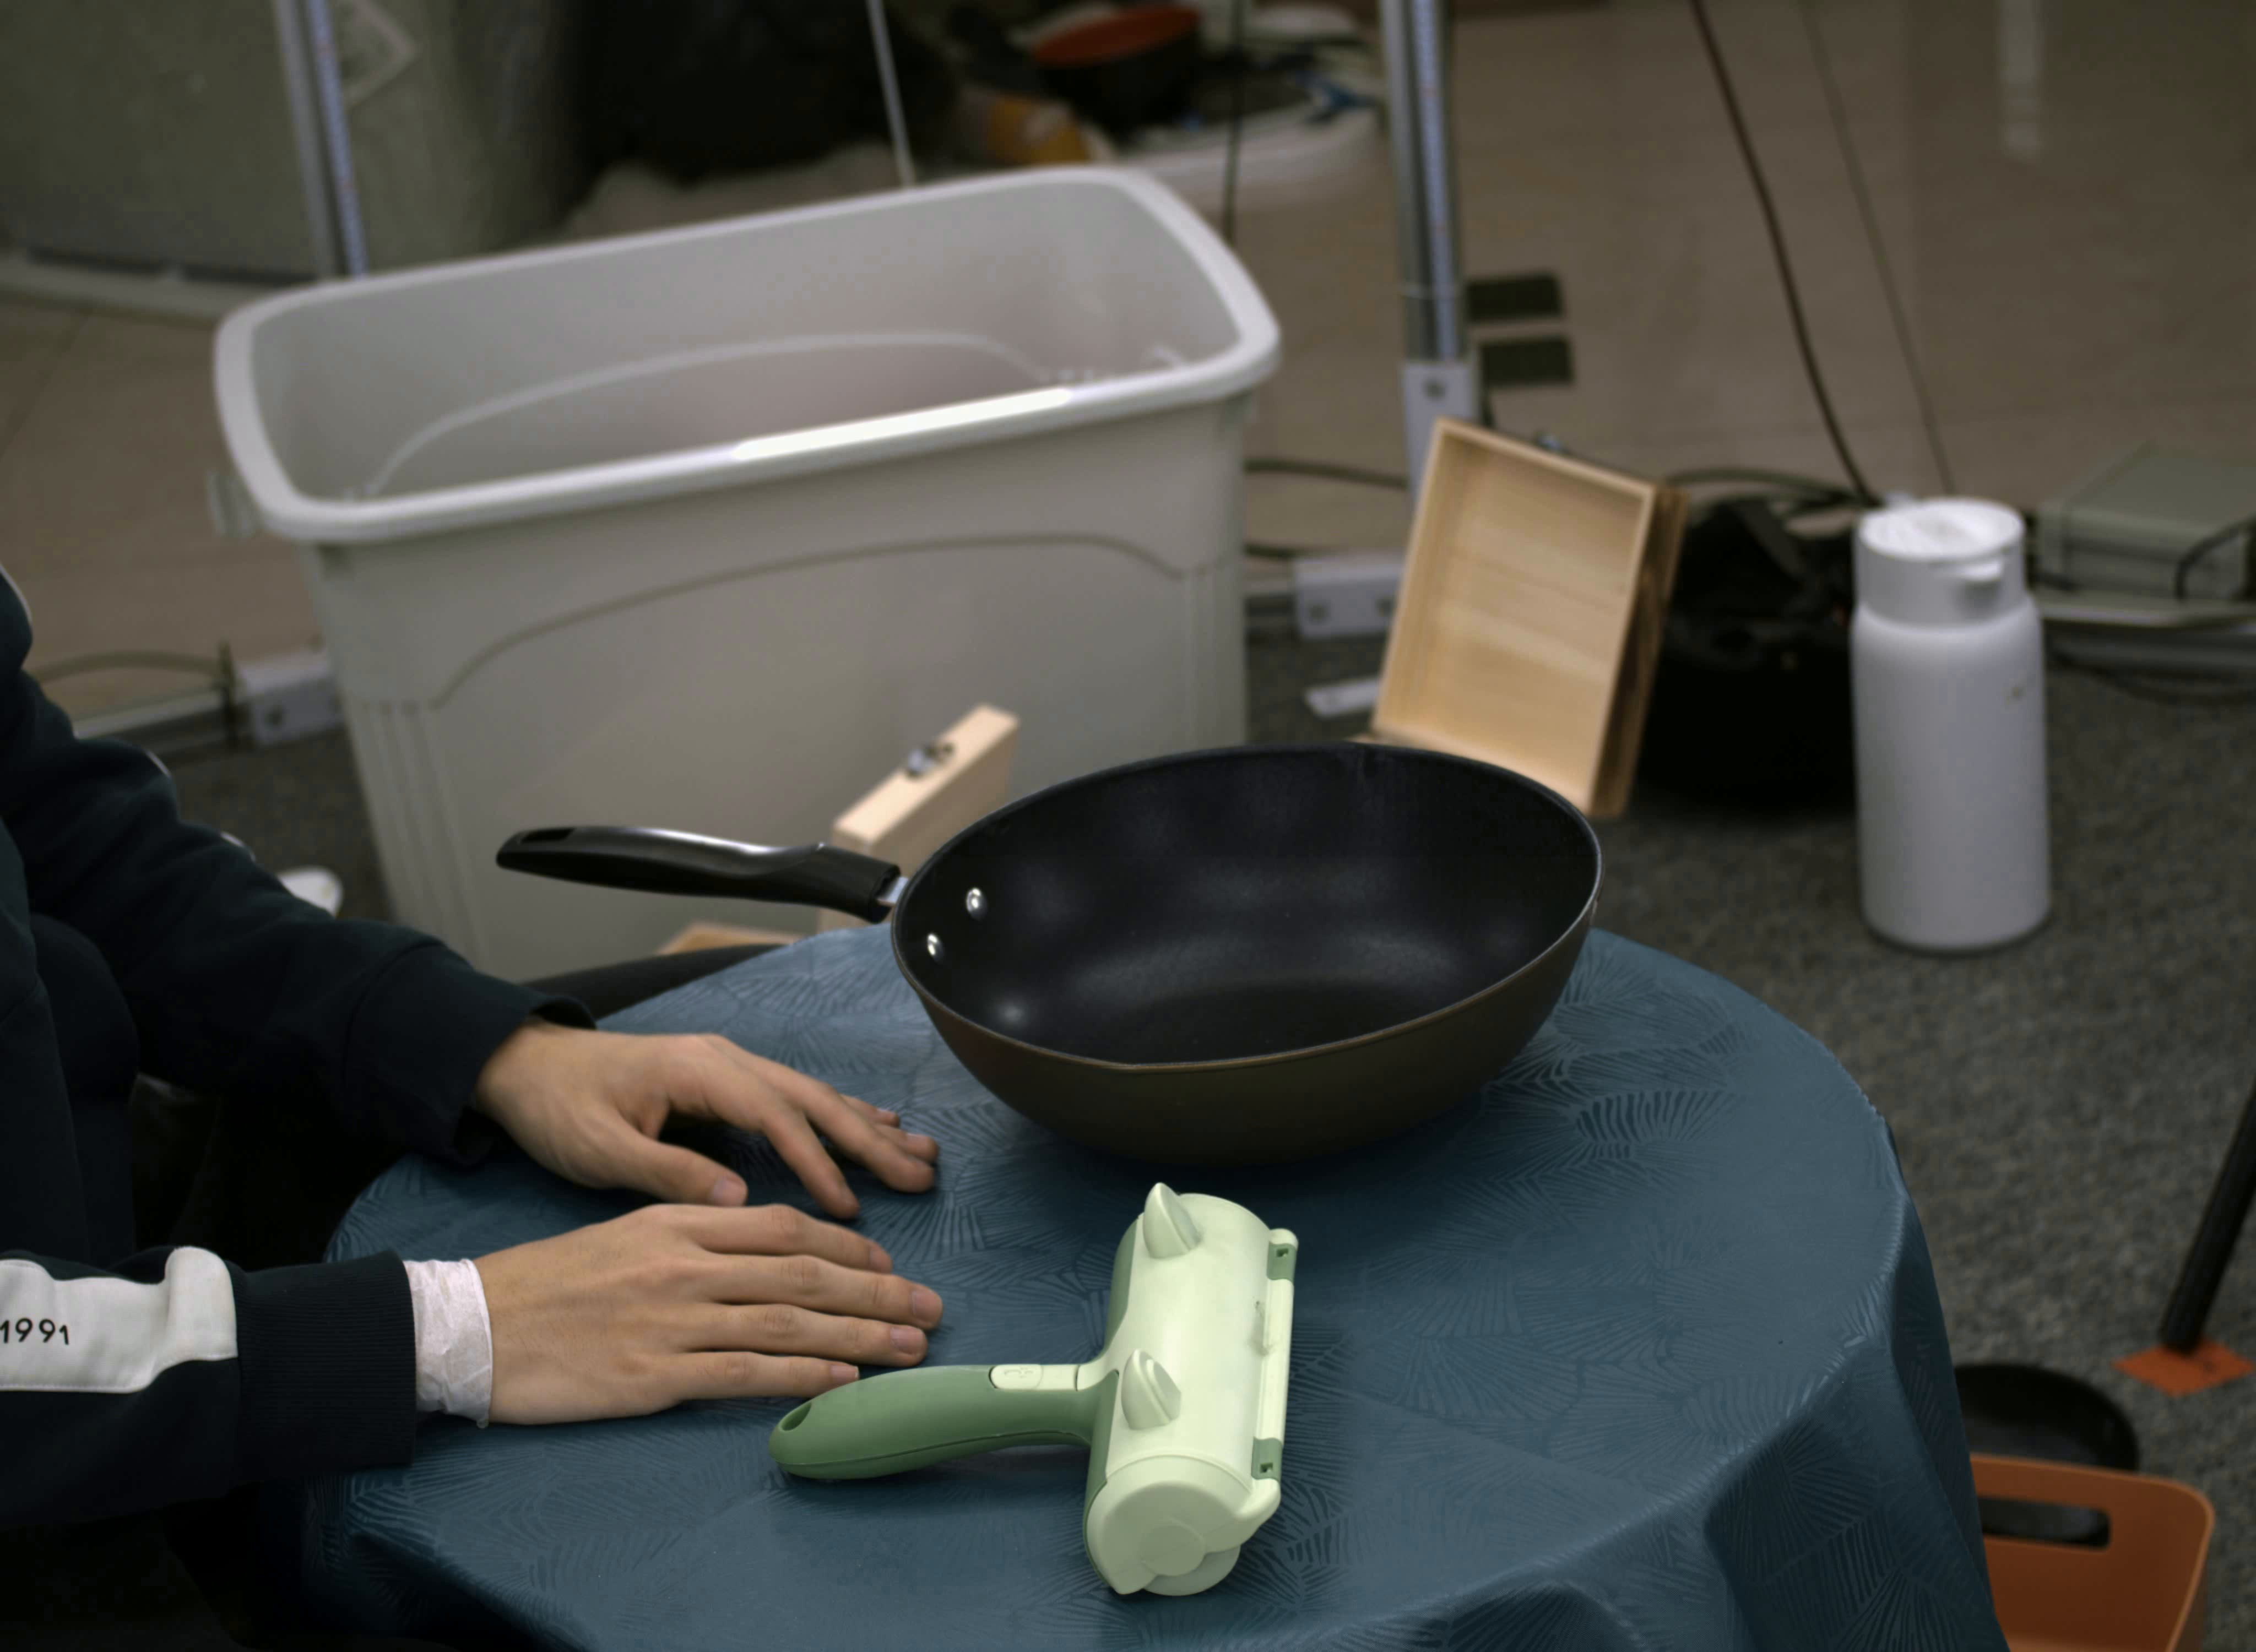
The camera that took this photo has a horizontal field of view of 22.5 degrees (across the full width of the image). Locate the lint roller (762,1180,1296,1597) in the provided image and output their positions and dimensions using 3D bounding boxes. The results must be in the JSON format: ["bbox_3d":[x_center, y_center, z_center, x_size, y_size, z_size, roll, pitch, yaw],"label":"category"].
[{"bbox_3d":[-0.037,0.186,1.961,0.183,0.083,0.195,1,26,4],"label":"lint roller"}]

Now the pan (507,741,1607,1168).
[{"bbox_3d":[-0.034,0.055,2.233,0.462,0.088,0.284,3,27,22],"label":"pan"}]
